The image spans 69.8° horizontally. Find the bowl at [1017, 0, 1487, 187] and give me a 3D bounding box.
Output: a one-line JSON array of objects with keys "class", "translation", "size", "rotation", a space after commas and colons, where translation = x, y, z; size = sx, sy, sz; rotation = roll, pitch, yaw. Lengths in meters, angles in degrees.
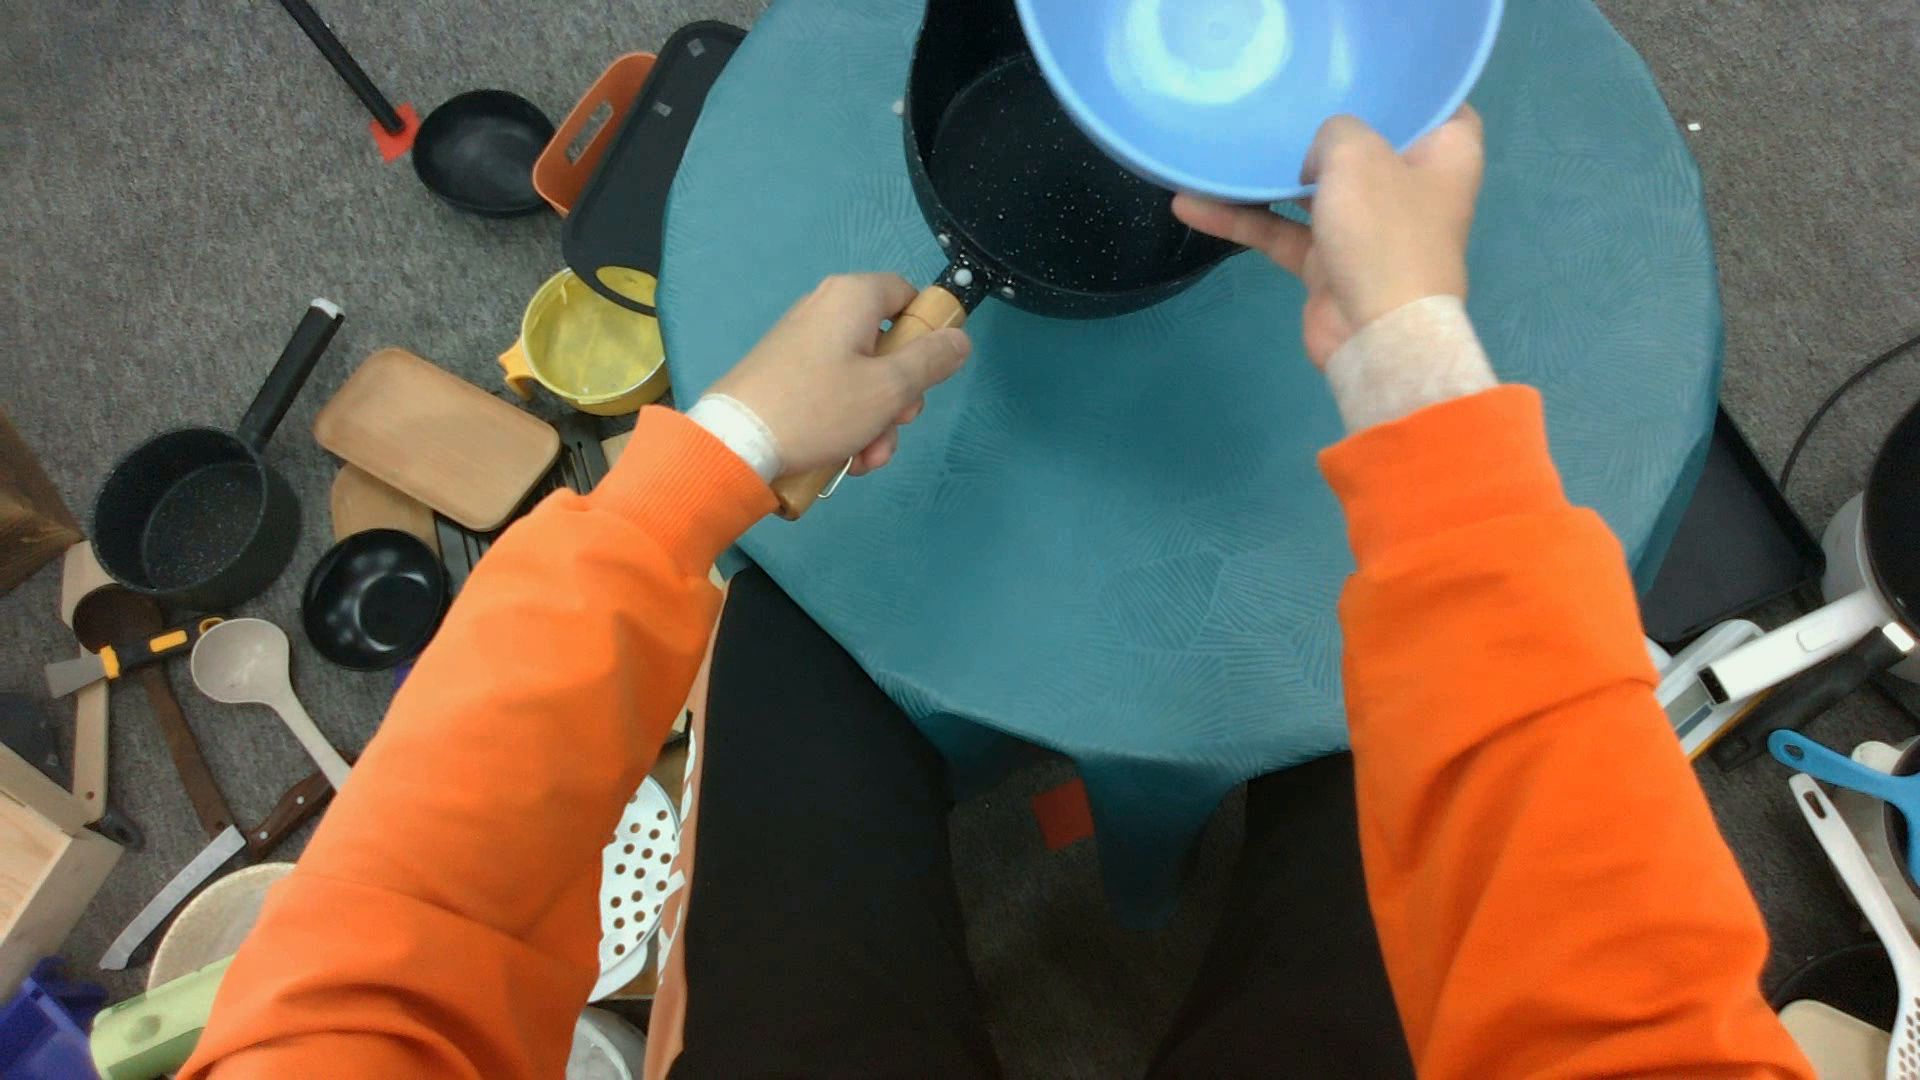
[{"class": "bowl", "translation": [0.113, -0.237, 0.587], "size": [0.196, 0.095, 0.196], "rotation": [0, 88, -4]}]

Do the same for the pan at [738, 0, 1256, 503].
[{"class": "pan", "translation": [0.008, -0.145, 0.672], "size": [0.207, 0.108, 0.343], "rotation": [36, 76, -2]}]
